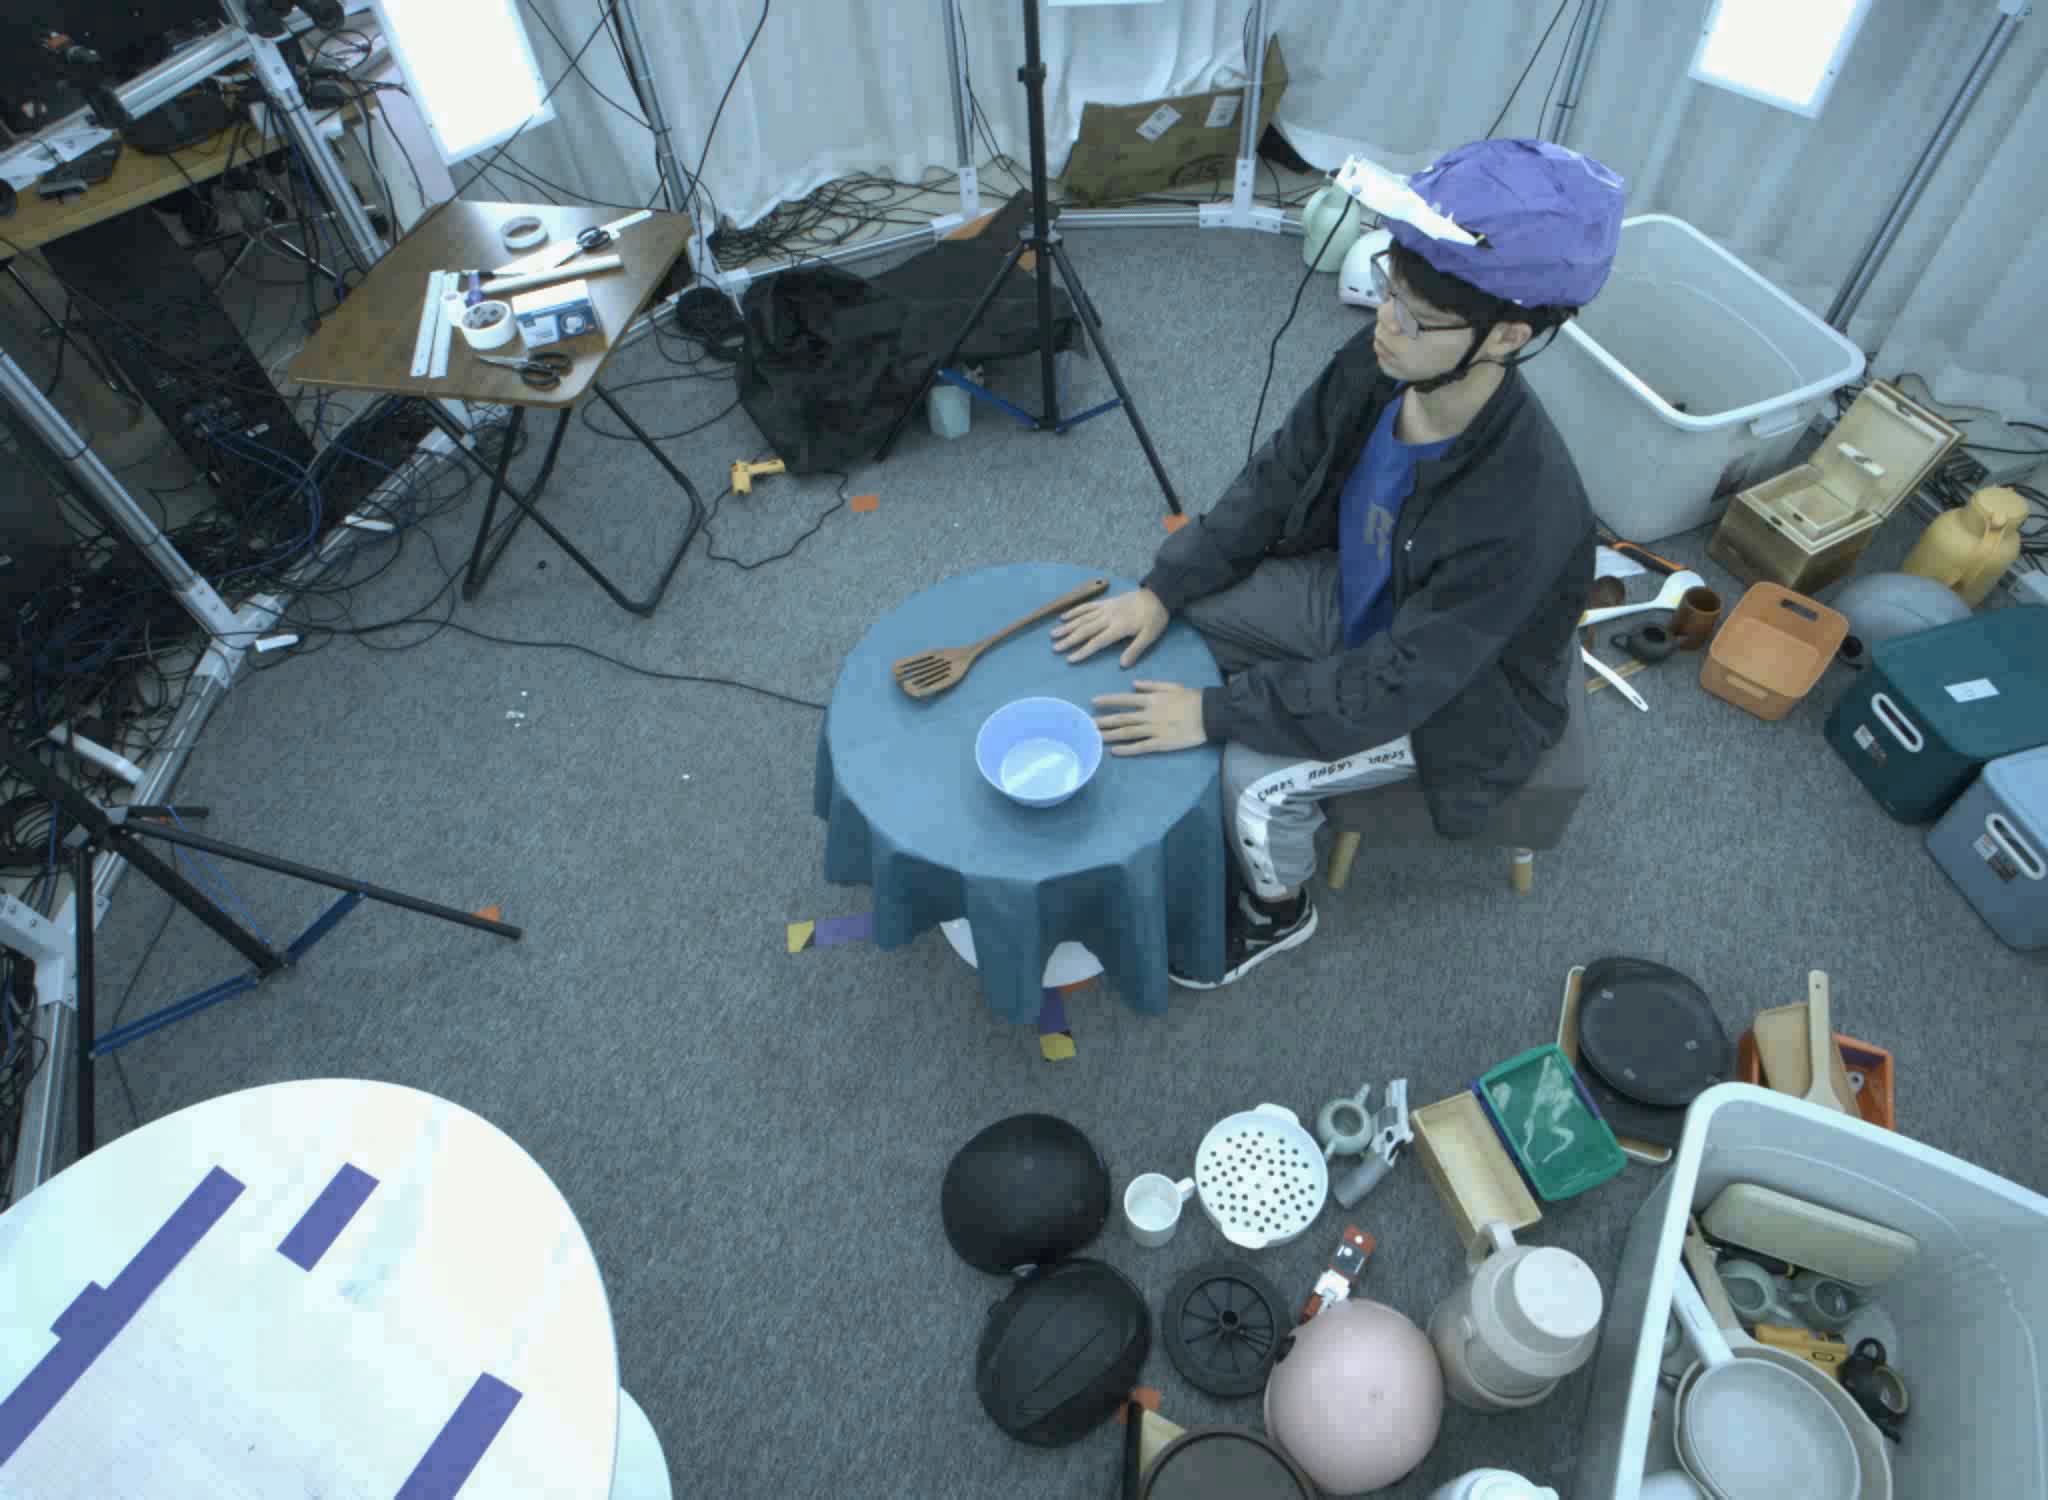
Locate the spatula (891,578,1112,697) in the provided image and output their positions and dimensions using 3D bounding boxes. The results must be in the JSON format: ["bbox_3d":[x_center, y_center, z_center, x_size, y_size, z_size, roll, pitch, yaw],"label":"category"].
[{"bbox_3d":[-0.026,-0.182,1.897,0.390,0.024,0.084,-28,59,-19],"label":"spatula"}]

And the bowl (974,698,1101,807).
[{"bbox_3d":[0.019,0.014,1.724,0.176,0.071,0.174,0,54,1],"label":"bowl"}]
